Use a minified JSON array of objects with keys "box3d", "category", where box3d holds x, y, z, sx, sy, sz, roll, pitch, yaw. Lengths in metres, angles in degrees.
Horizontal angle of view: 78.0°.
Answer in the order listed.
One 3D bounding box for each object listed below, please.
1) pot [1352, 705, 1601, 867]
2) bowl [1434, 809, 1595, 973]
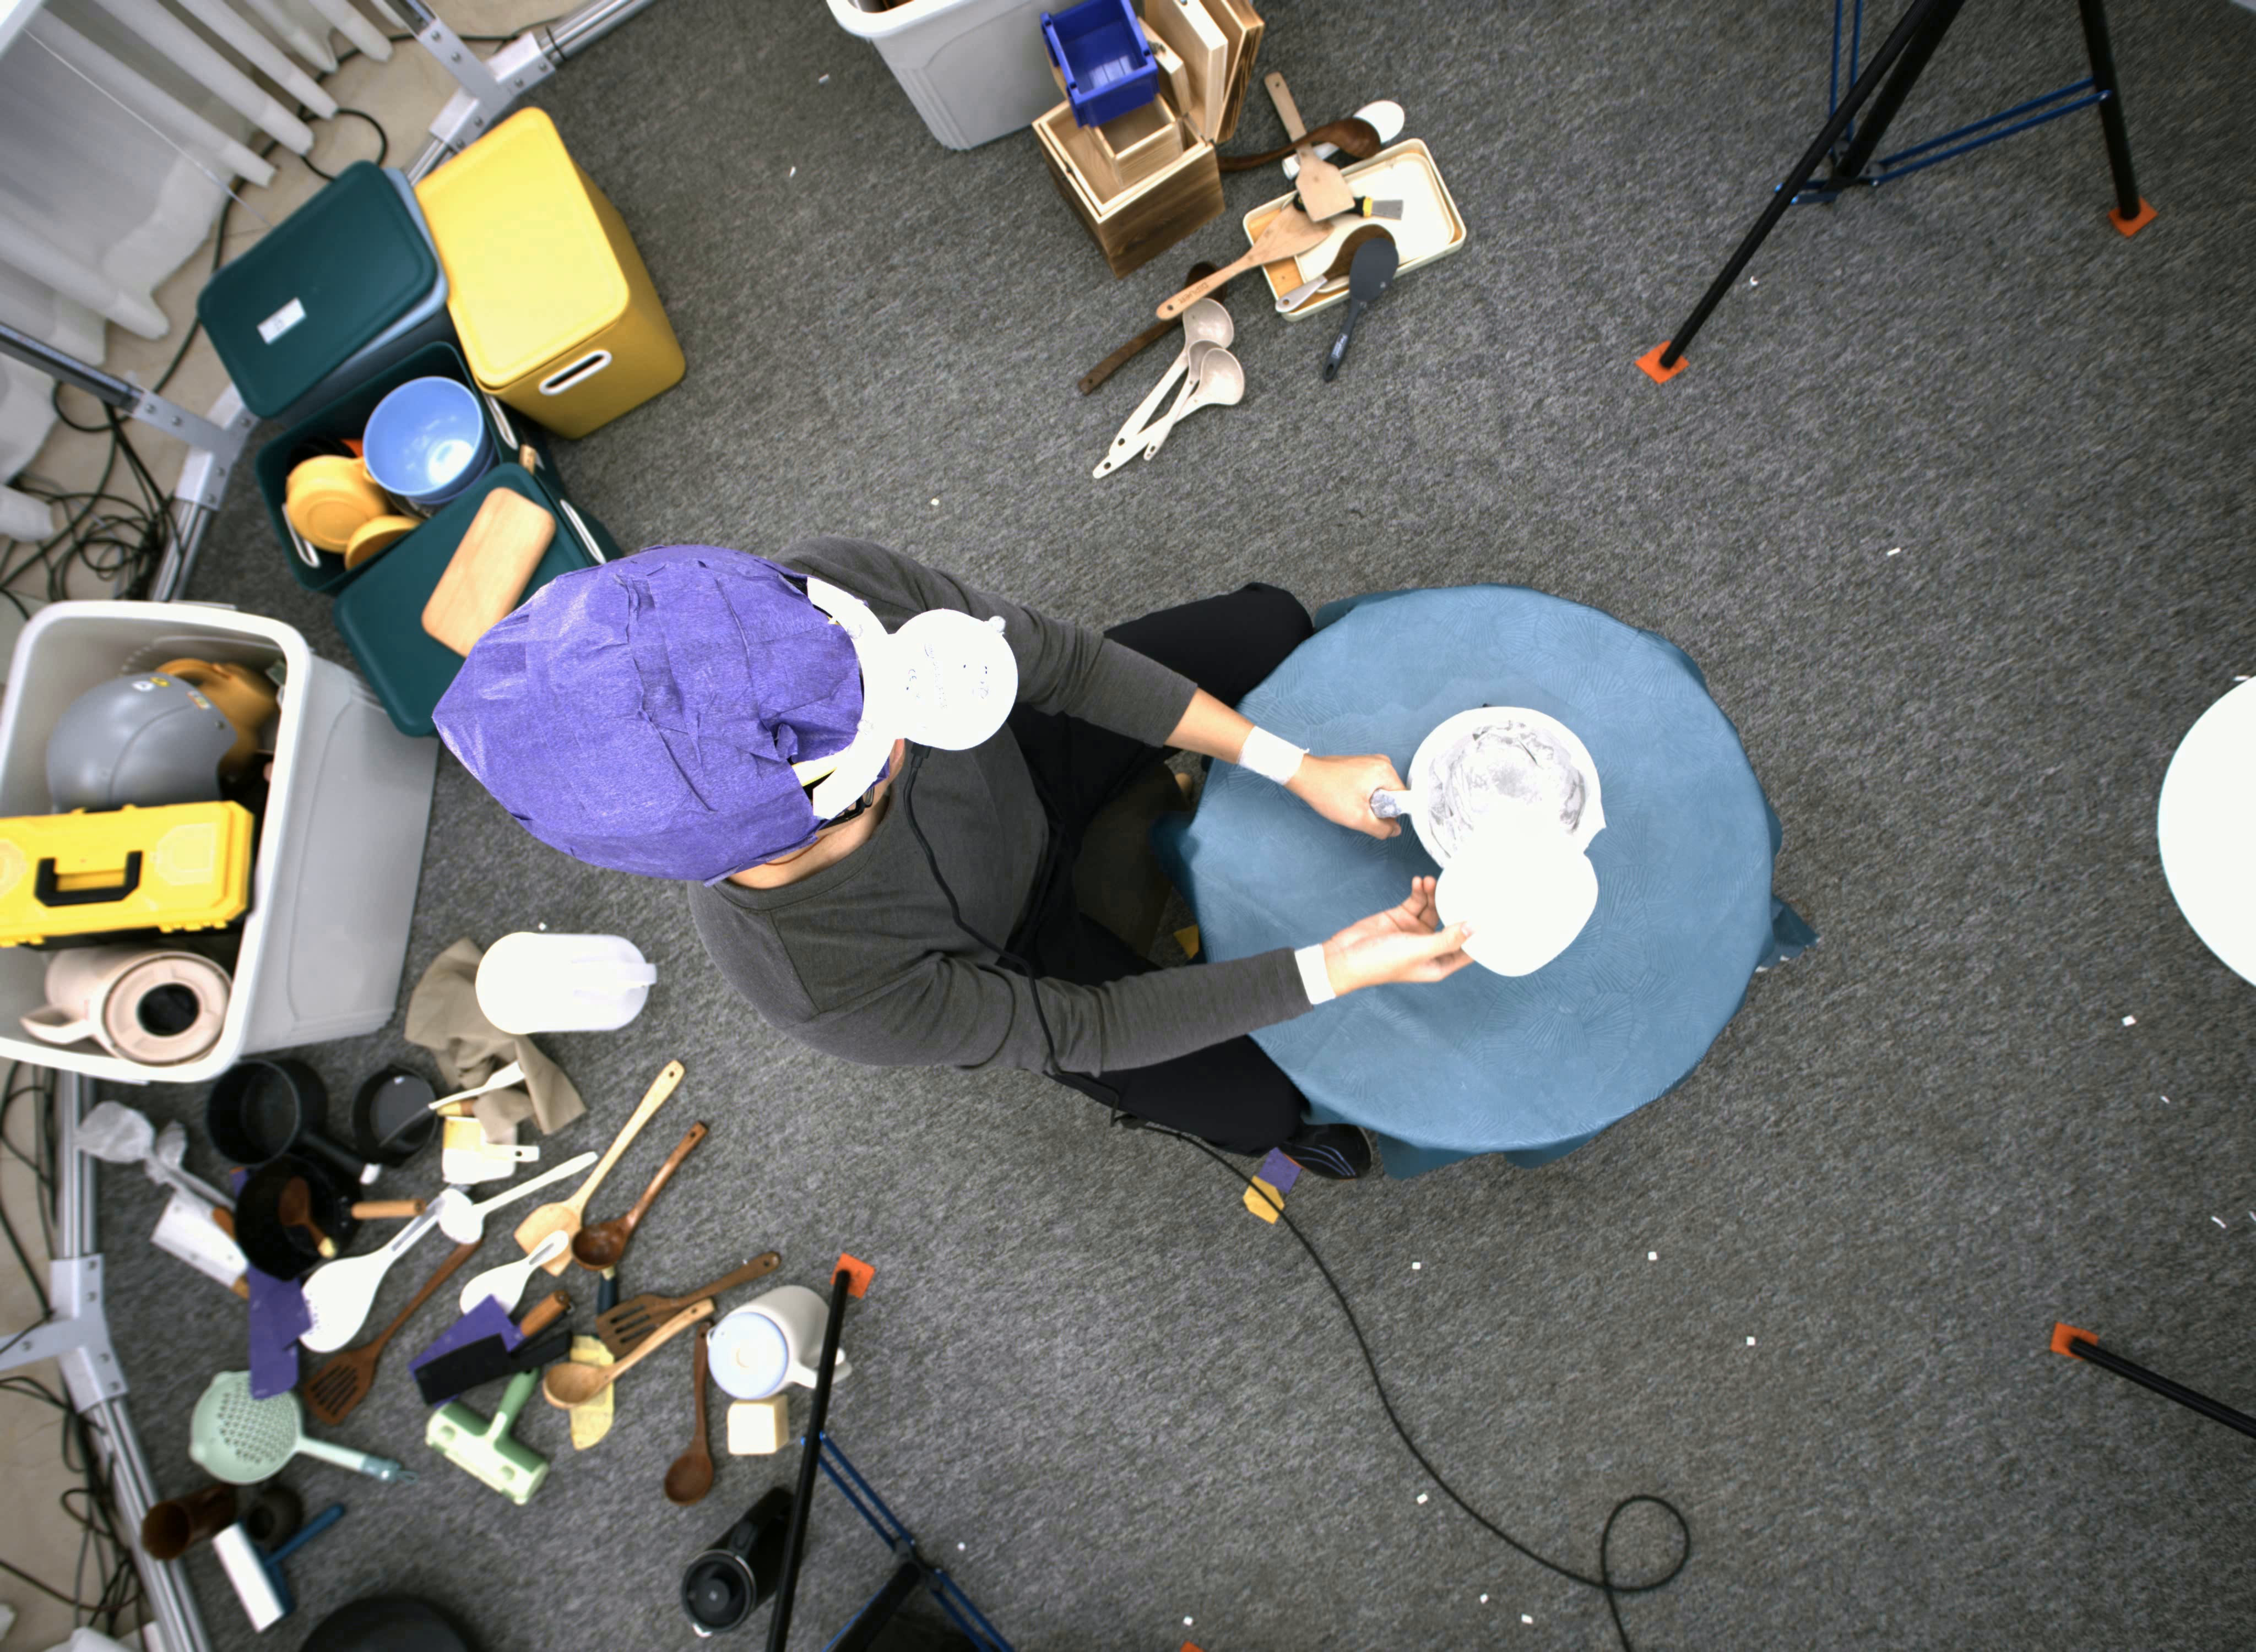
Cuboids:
[{"box3d":[0.342,-0.031,1.373,0.235,0.135,0.179,-4,97,10],"category":"pot"},{"box3d":[0.348,0.054,1.269,0.151,0.058,0.153,-1,101,-5],"category":"bowl"}]
